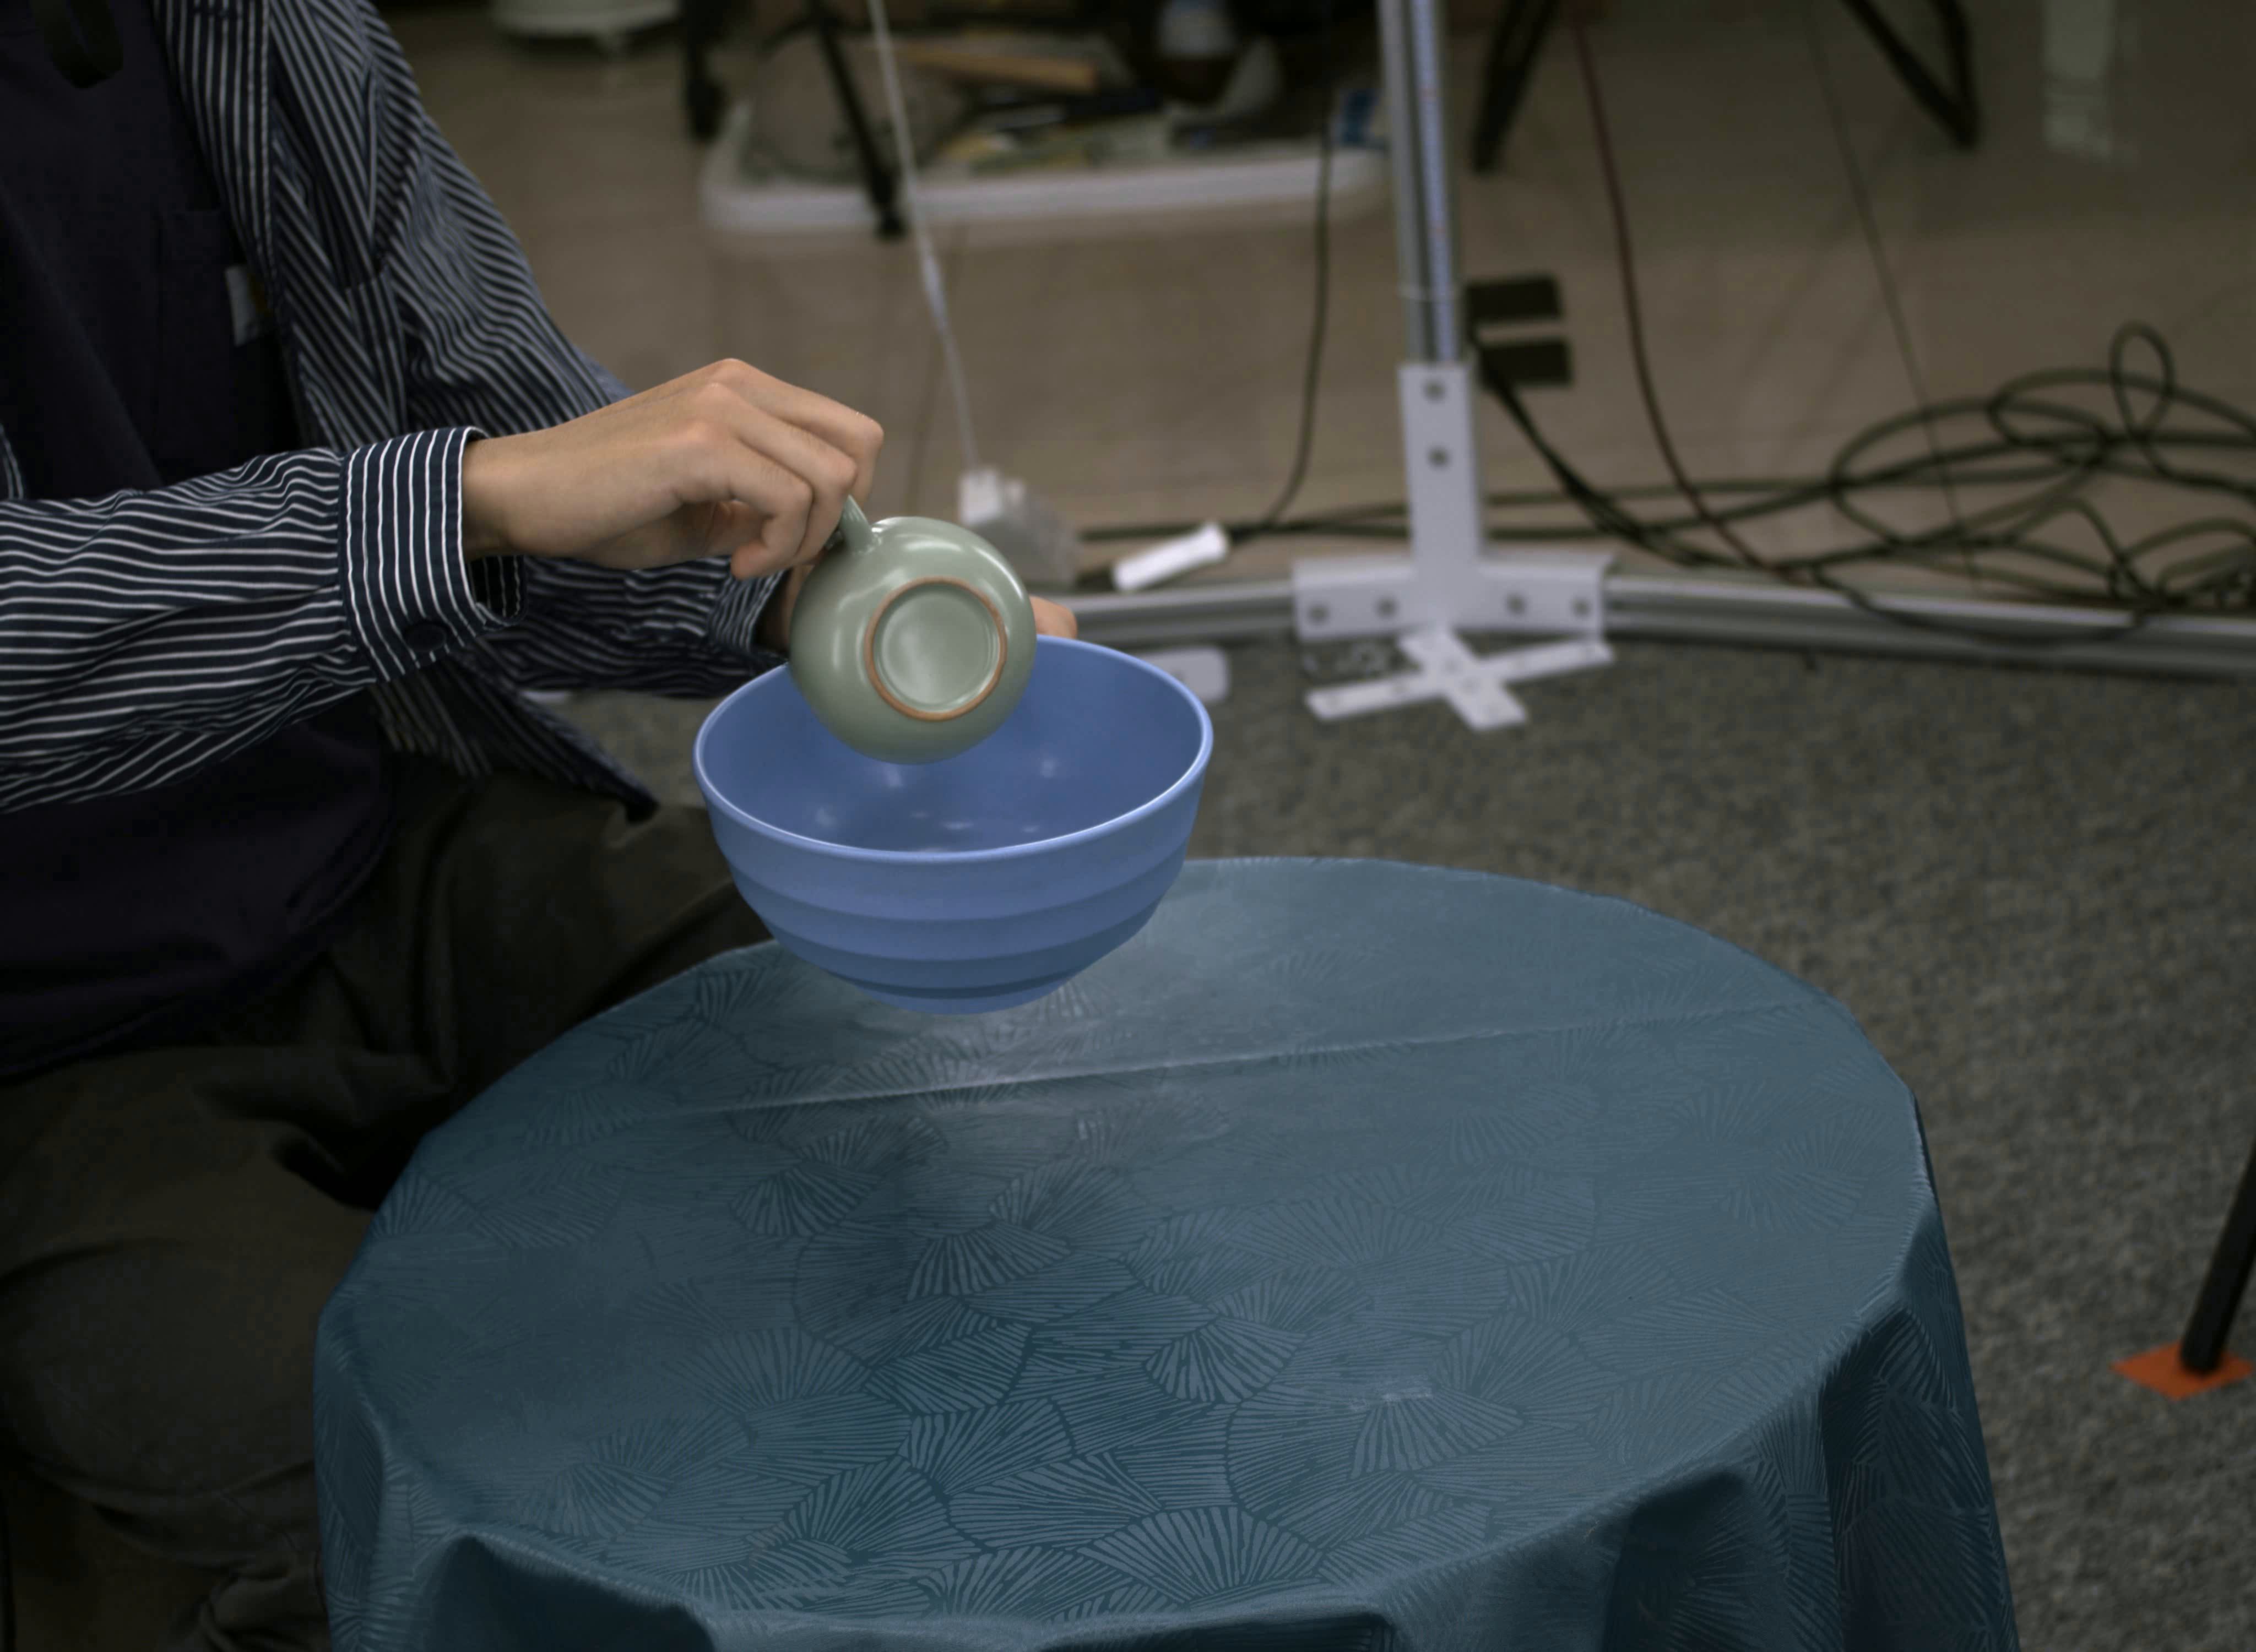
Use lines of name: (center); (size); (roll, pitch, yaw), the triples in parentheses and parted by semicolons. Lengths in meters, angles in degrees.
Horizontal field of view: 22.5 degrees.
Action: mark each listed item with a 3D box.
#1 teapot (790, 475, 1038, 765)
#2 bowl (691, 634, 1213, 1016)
teapot: (-0.083, -0.076, 2.065); (0.091, 0.130, 0.060); (-38, 19, -7)
bowl: (-0.065, 0.009, 2.144); (0.196, 0.097, 0.193); (-1, 28, 1)
